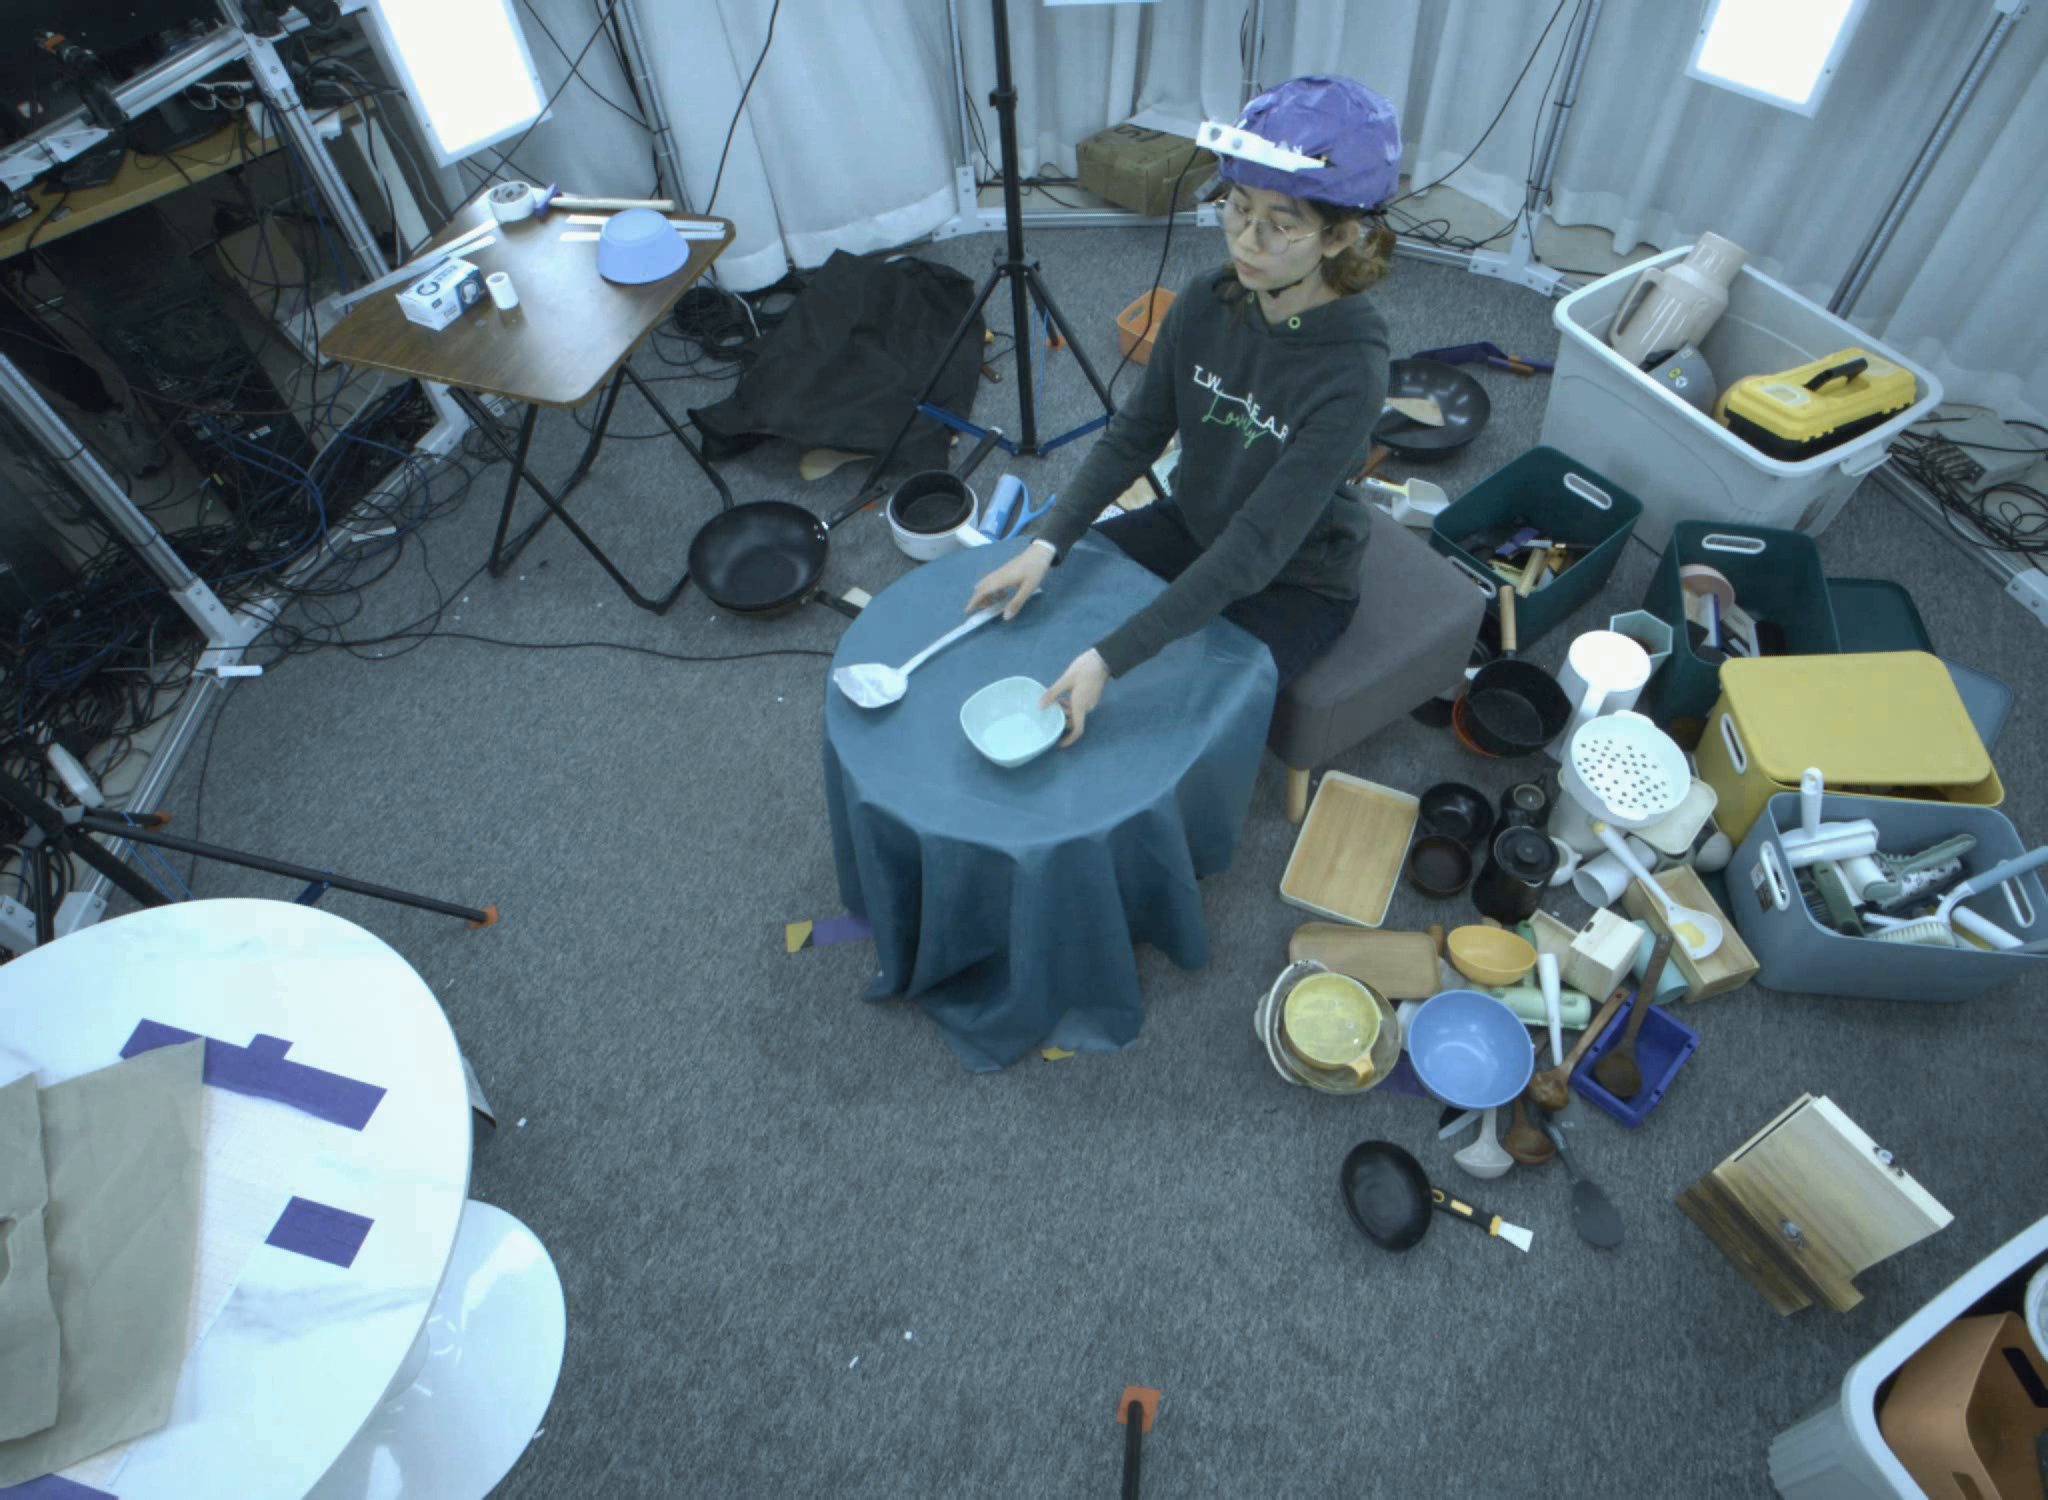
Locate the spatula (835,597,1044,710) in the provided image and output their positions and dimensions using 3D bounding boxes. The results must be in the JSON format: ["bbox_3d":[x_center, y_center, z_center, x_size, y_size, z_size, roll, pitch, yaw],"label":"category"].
[{"bbox_3d":[-0.121,-0.163,1.892,0.368,0.045,0.097,-34,58,-20],"label":"spatula"}]

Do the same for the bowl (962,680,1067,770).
[{"bbox_3d":[-0.013,-0.026,1.784,0.151,0.059,0.150,0,56,1],"label":"bowl"}]
